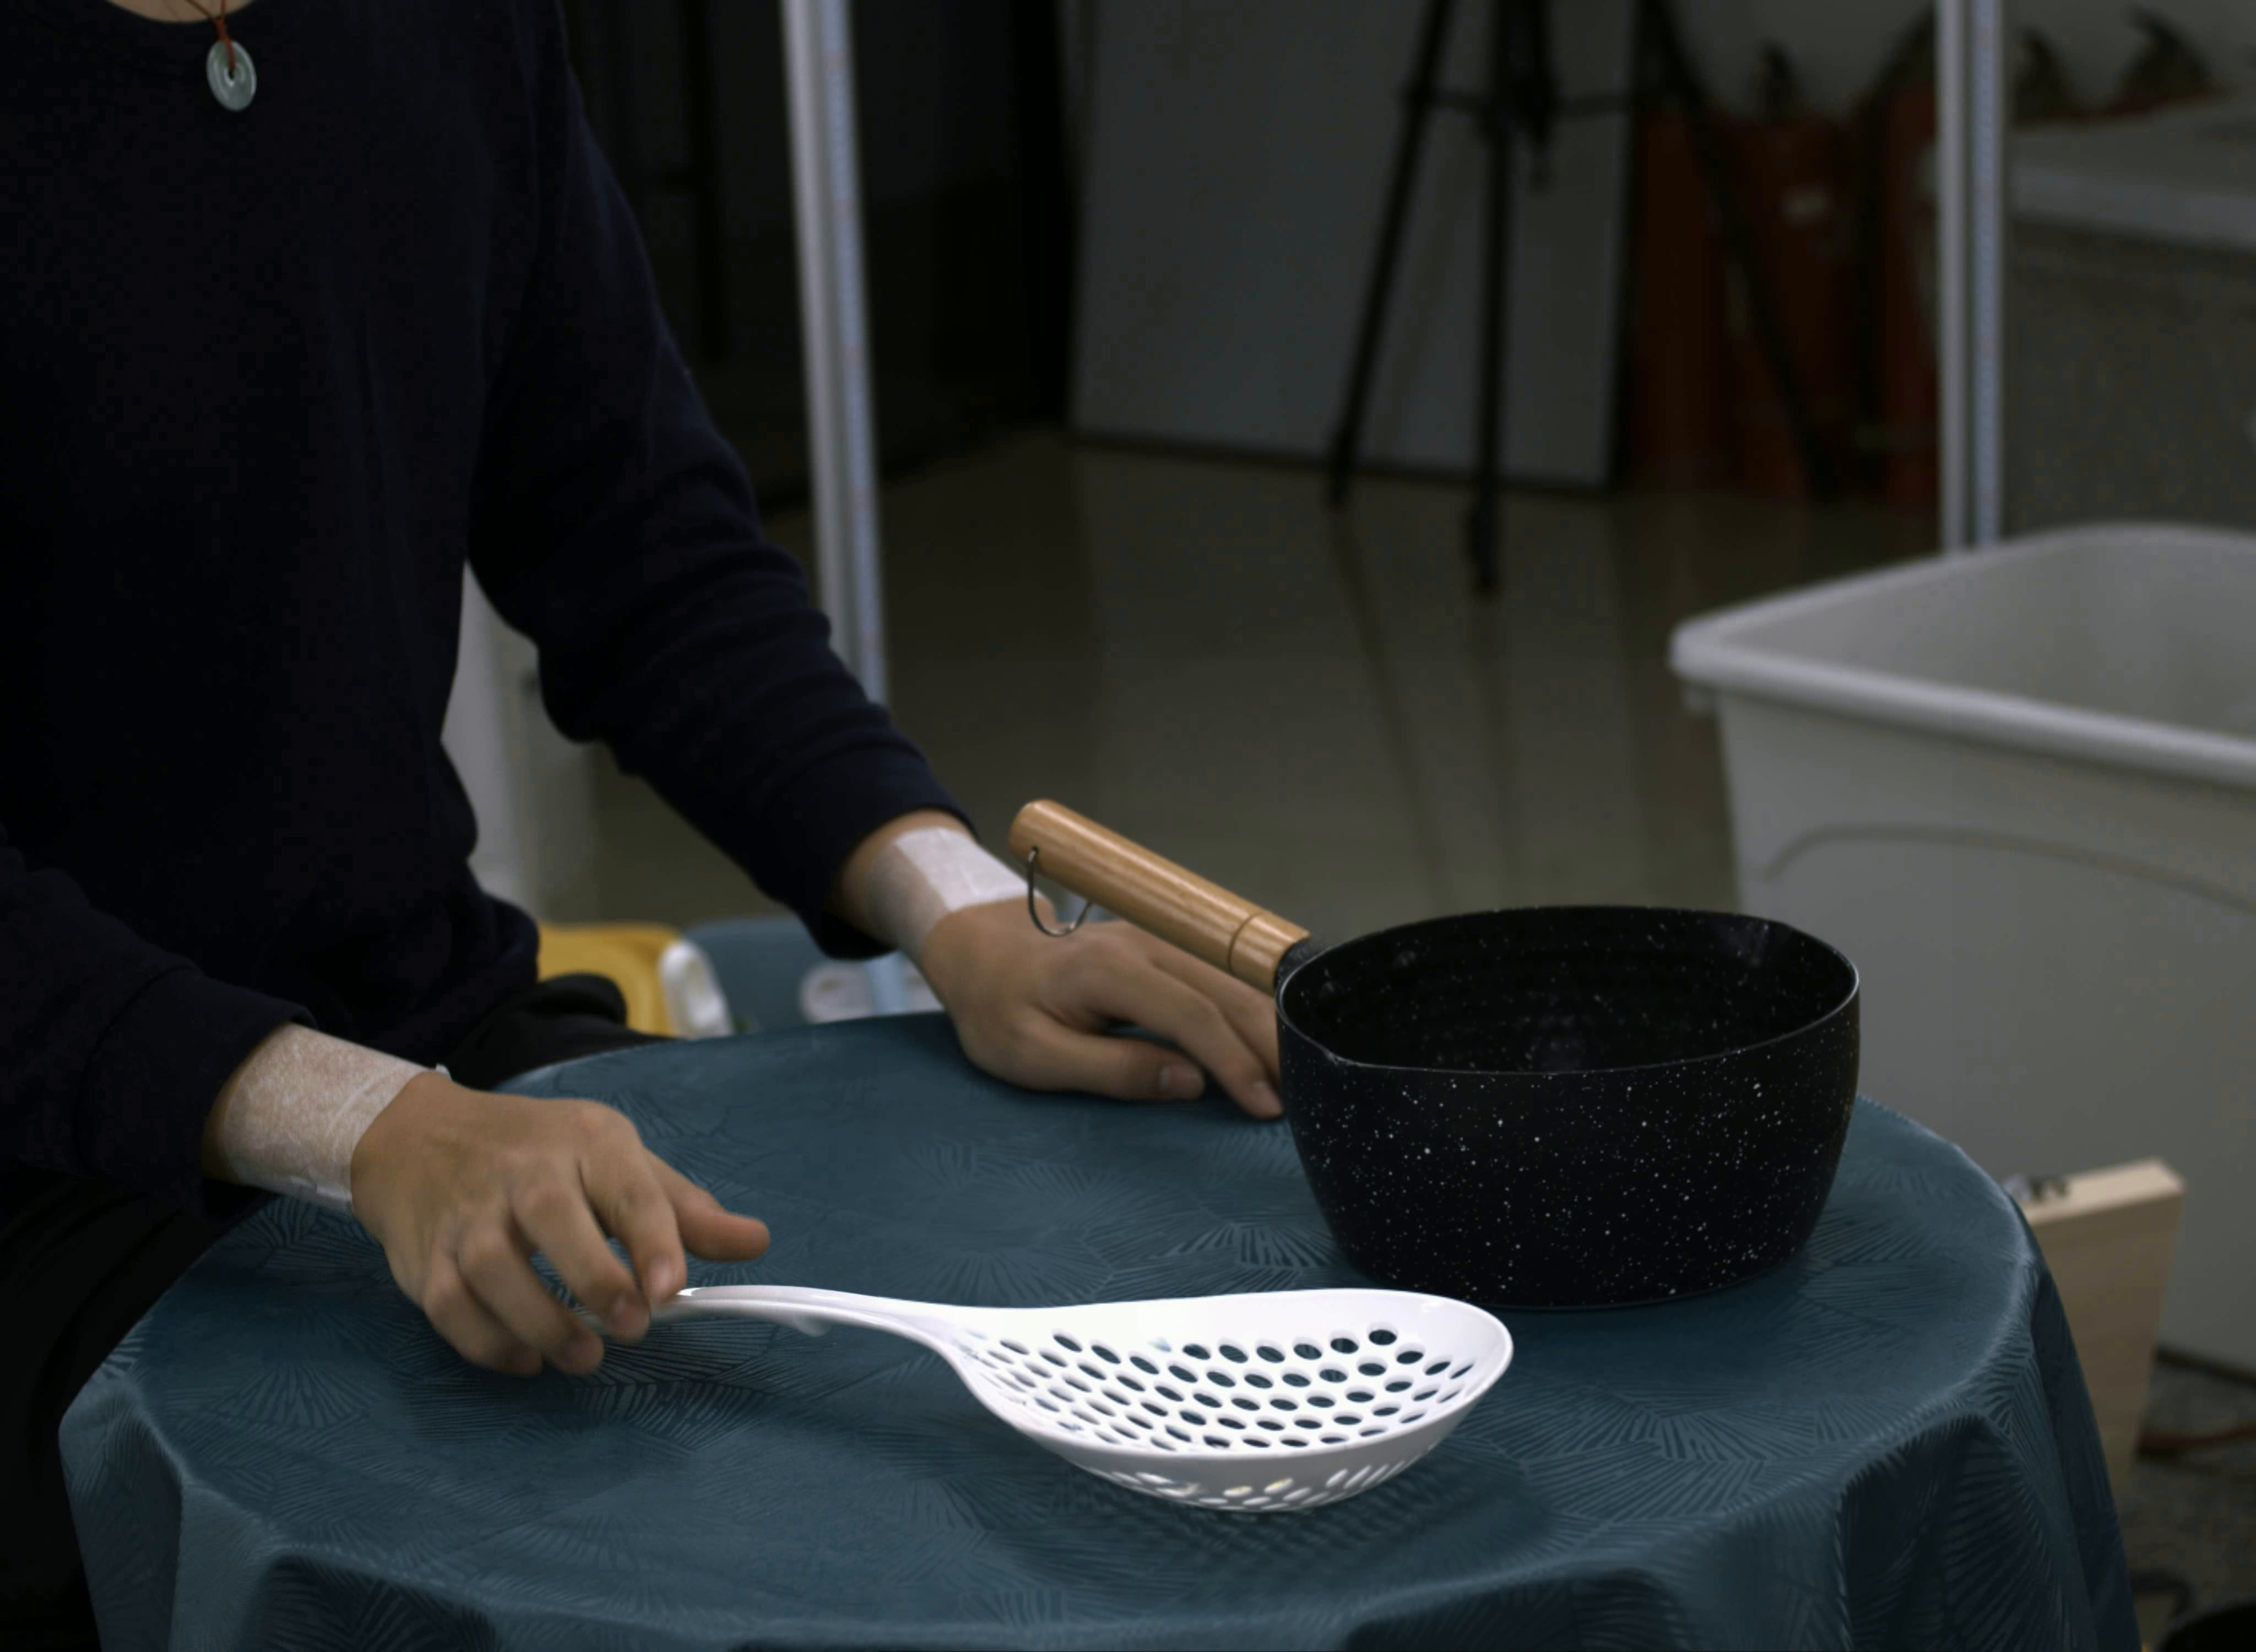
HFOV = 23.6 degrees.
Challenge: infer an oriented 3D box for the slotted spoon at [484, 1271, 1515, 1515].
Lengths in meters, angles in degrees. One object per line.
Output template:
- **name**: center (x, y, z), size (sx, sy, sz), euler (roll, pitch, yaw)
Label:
- **slotted spoon**: center (-0.048, 0.155, 1.558), size (0.350, 0.051, 0.134), euler (8, 20, 35)

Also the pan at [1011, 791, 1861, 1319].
- **pan**: center (0.083, 0.066, 1.740), size (0.203, 0.109, 0.346), euler (-18, 20, -41)
